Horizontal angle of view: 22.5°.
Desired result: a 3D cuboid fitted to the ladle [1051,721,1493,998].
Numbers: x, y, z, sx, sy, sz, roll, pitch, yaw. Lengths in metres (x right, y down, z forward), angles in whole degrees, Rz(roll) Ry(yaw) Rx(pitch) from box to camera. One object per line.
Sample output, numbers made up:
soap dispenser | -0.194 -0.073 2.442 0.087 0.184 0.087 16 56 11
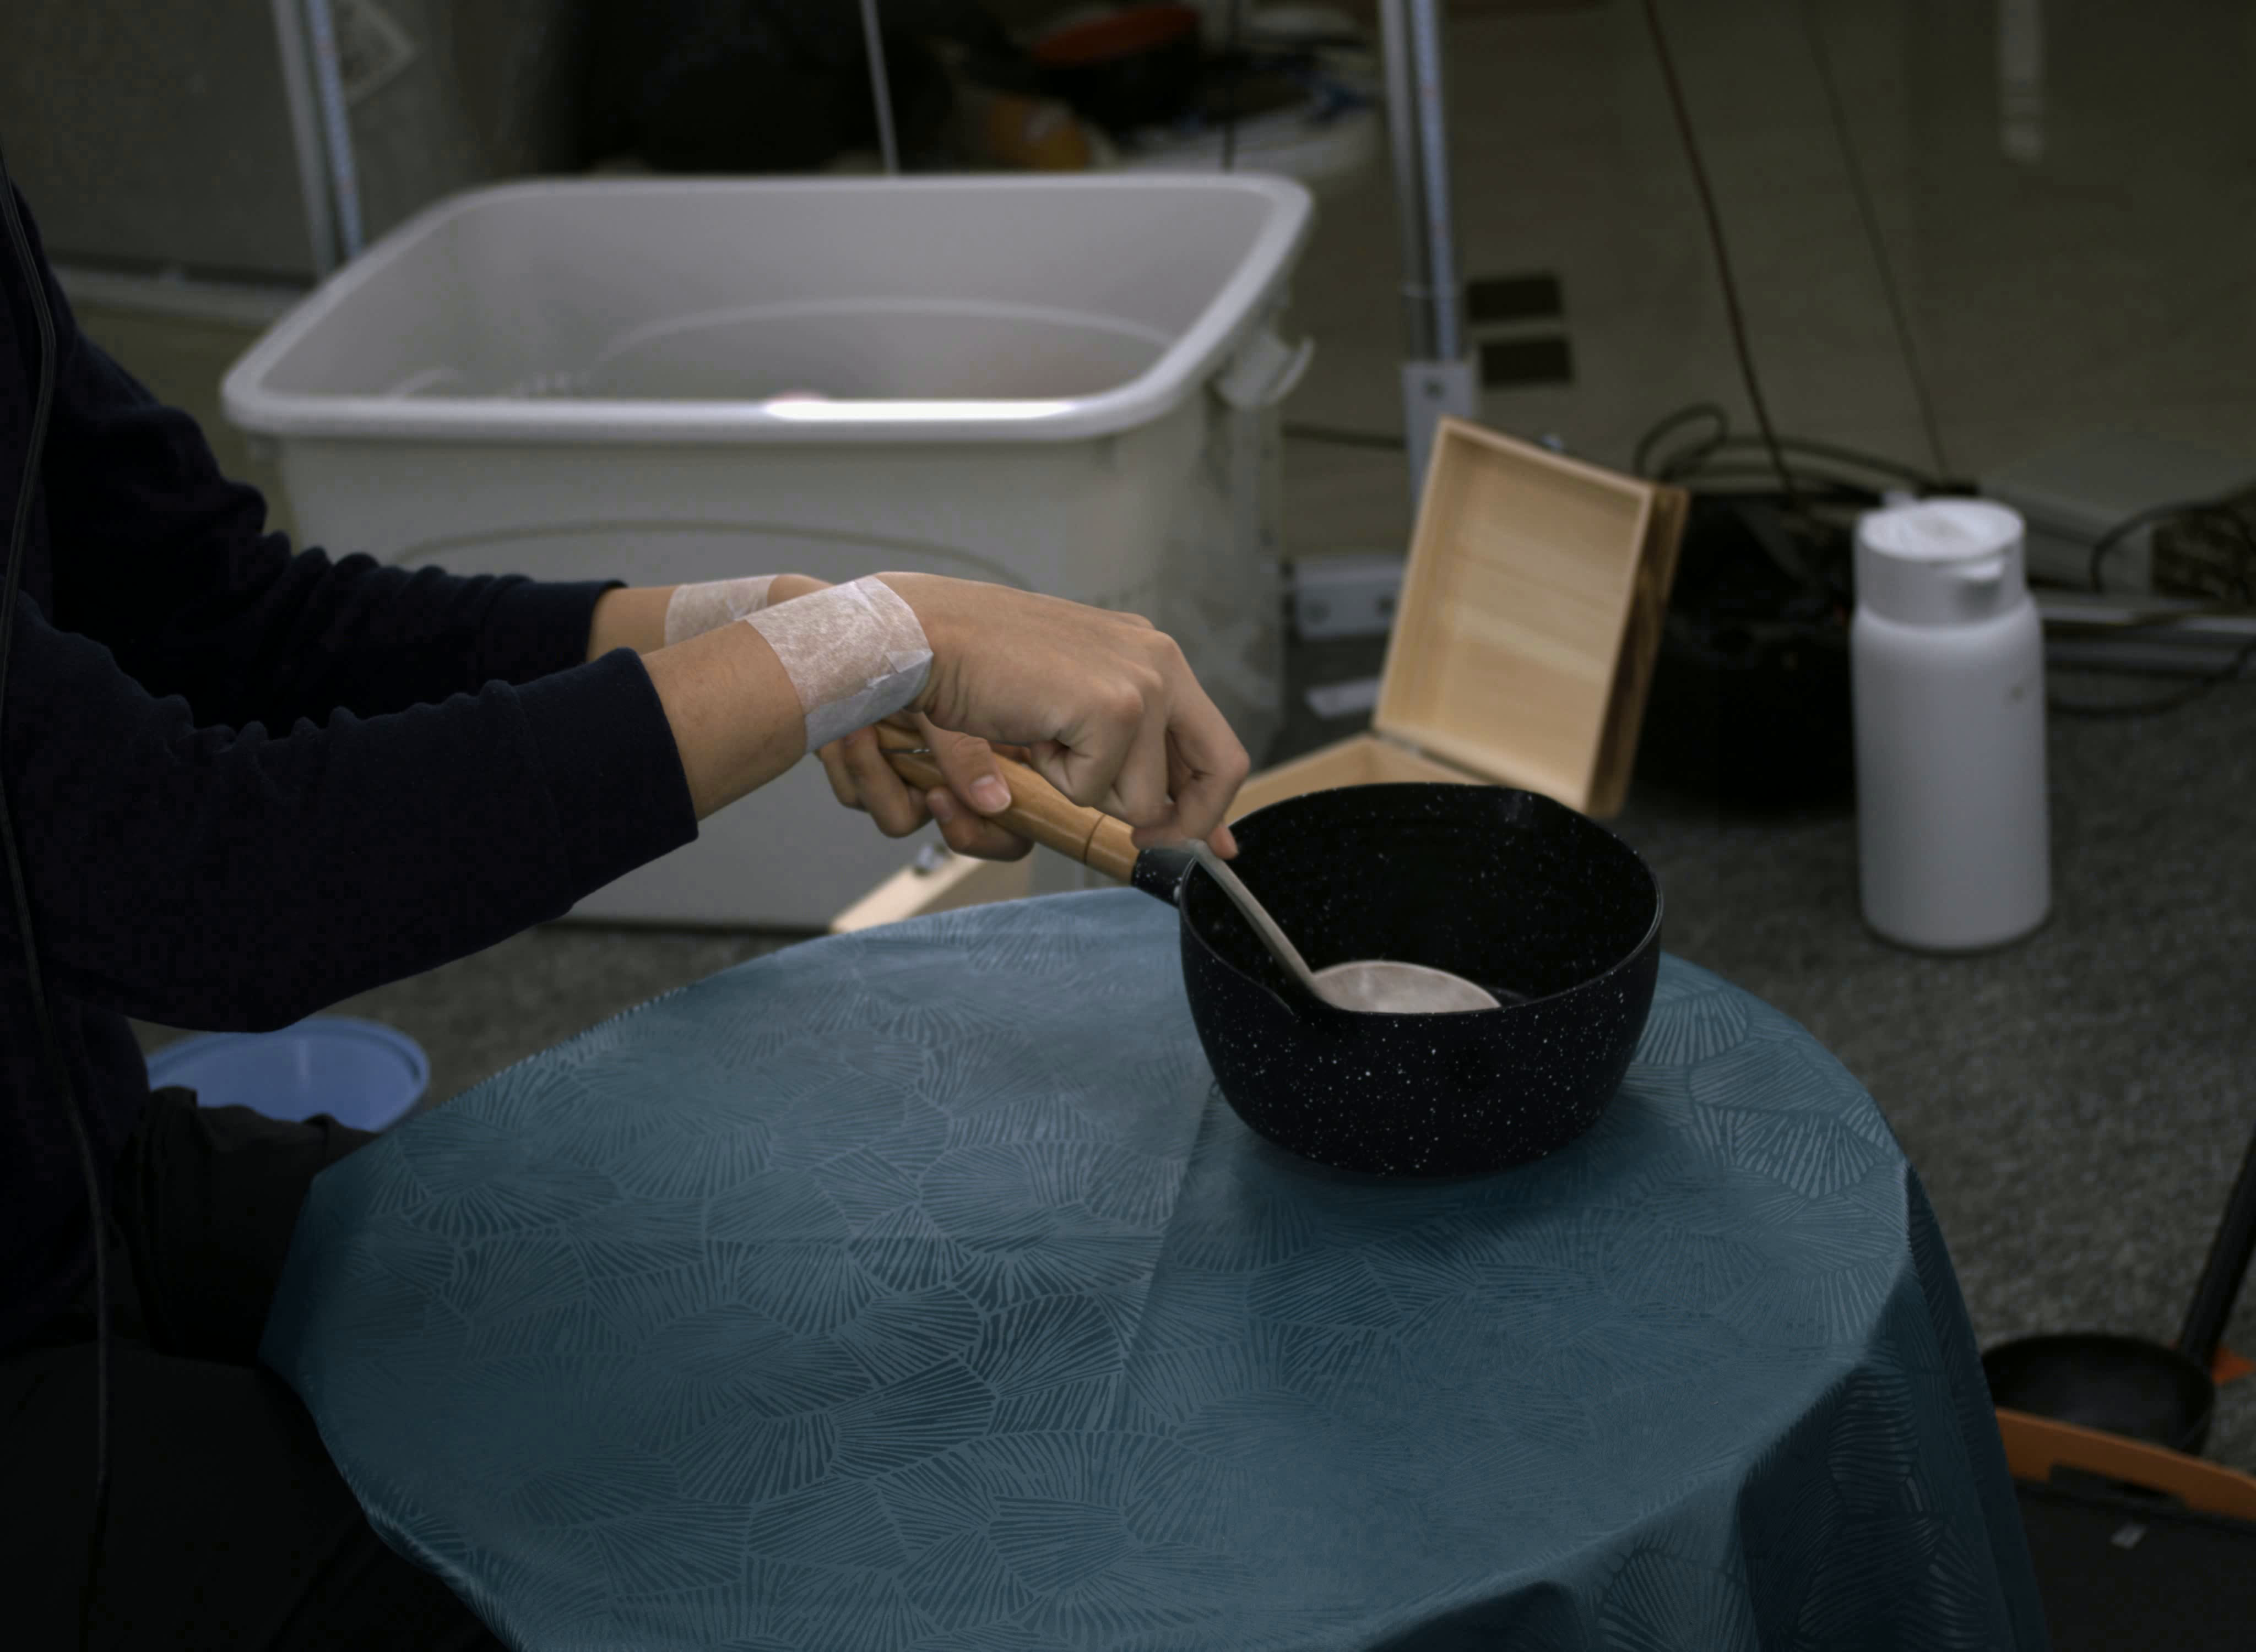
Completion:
ladle | 0.059 0.019 2.080 0.069 0.279 0.088 -42 46 -3

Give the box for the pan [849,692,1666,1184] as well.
pan | 0.041 0.035 2.193 0.341 0.110 0.205 14 33 23
